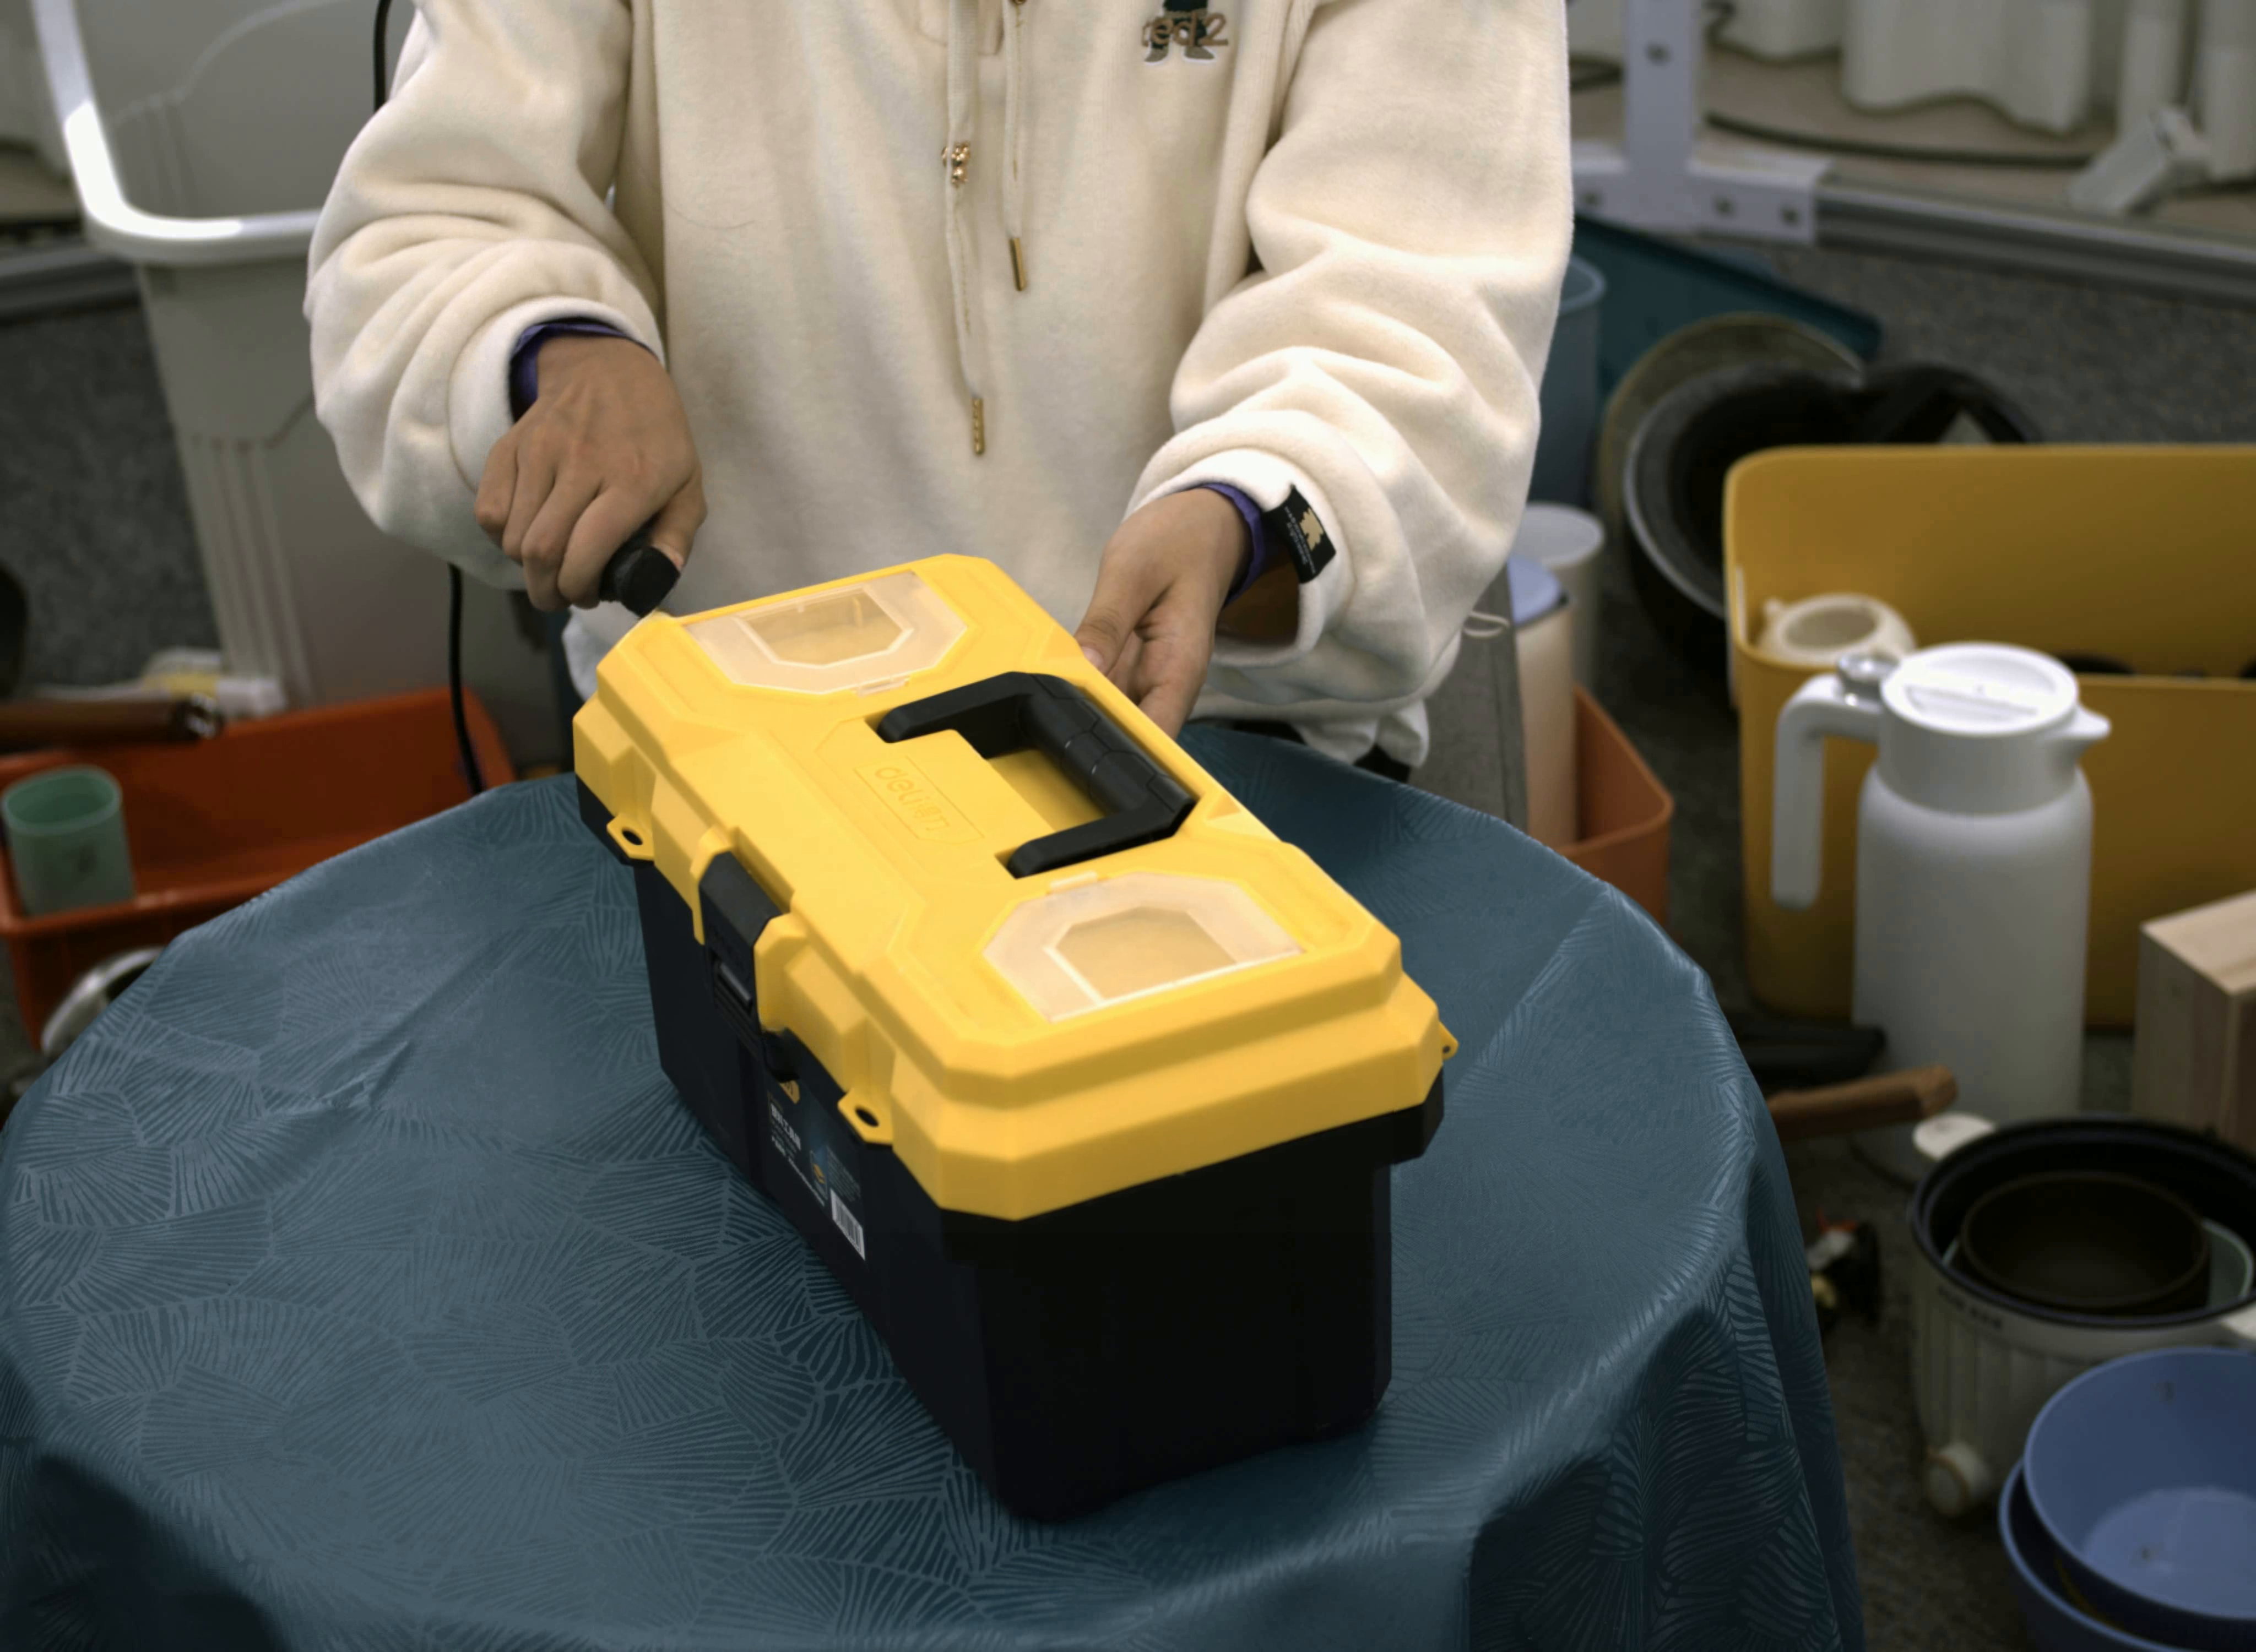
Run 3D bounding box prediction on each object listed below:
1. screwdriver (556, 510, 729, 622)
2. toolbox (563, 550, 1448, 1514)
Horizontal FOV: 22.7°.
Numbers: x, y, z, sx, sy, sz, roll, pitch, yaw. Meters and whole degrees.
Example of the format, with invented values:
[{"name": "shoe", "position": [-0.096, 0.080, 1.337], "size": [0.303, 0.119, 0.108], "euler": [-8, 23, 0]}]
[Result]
[{"name": "screwdriver", "position": [-0.170, -0.087, 1.987], "size": [0.031, 0.031, 0.196], "euler": [-11, 13, -16]}, {"name": "toolbox", "position": [-0.044, 0.059, 1.800], "size": [0.182, 0.171, 0.354], "euler": [-13, 29, -20]}]
